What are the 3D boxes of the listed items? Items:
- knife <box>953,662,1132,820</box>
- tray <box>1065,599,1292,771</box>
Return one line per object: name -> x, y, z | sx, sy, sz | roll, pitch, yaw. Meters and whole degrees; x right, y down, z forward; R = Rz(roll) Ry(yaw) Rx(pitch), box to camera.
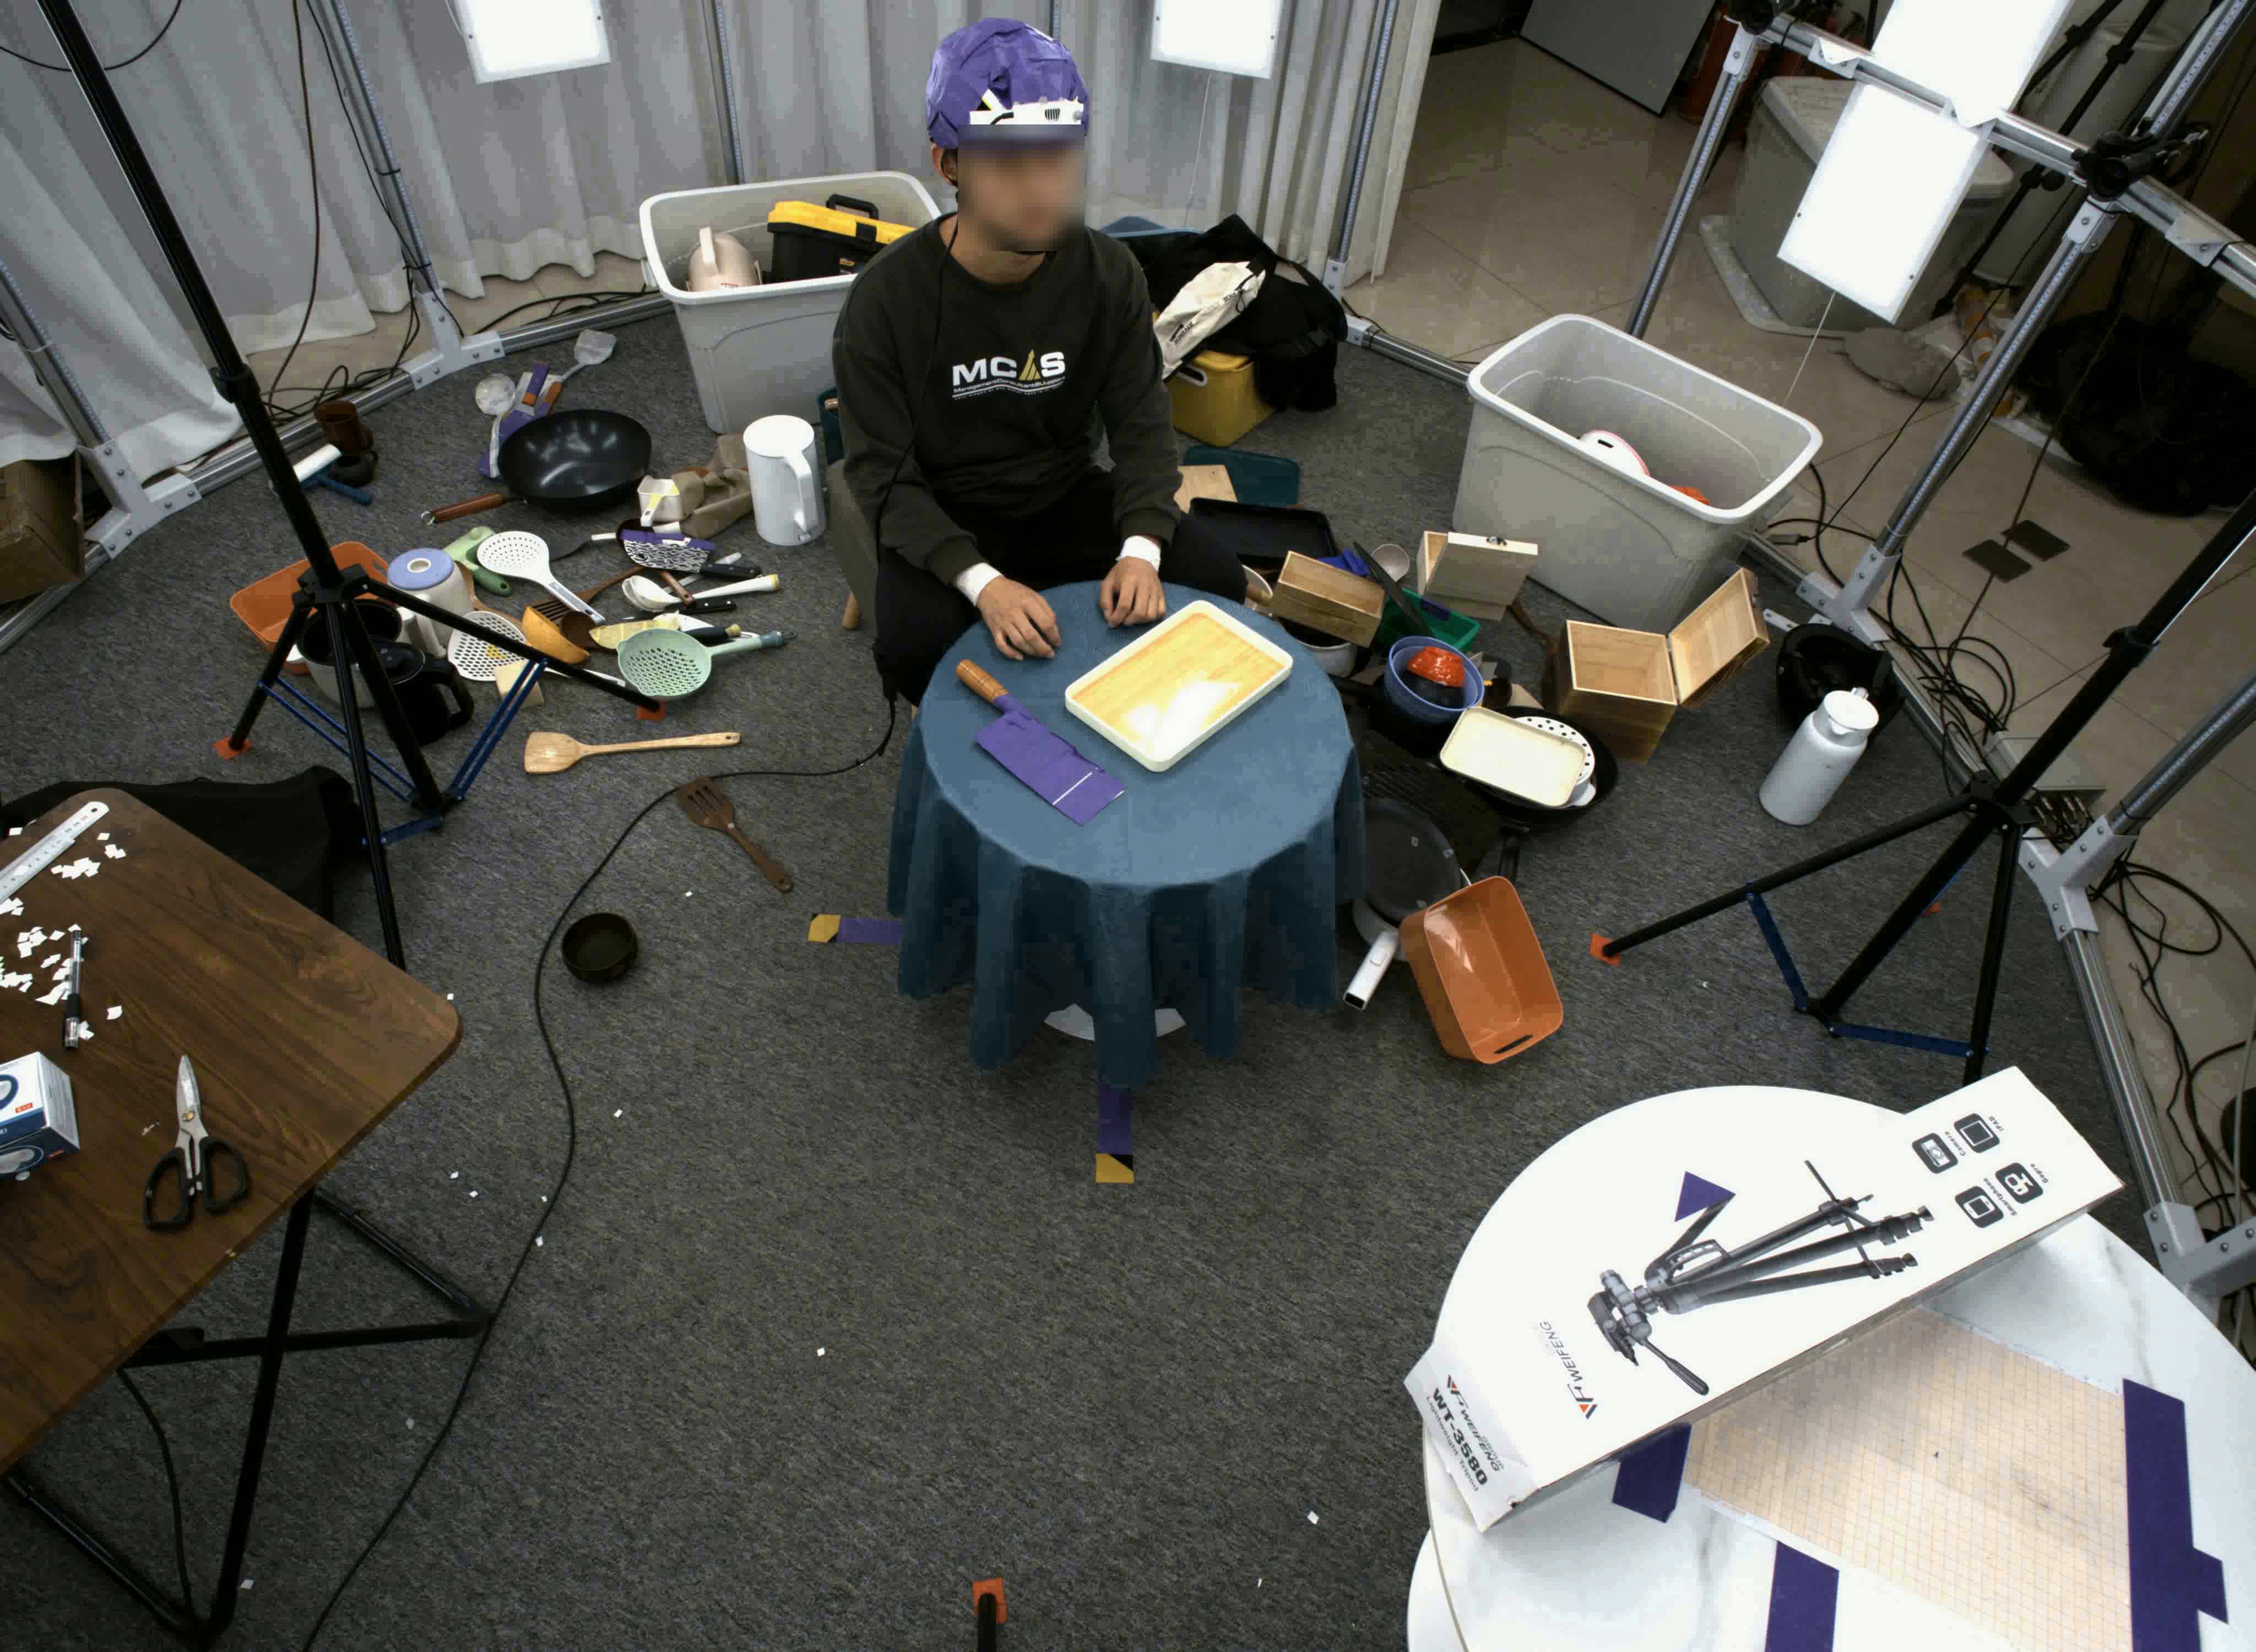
knife -> -0.142, -0.118, 1.743 | 0.319, 0.031, 0.105 | 37, 56, 24
tray -> 0.075, -0.208, 1.835 | 0.194, 0.027, 0.303 | 37, 56, 25
